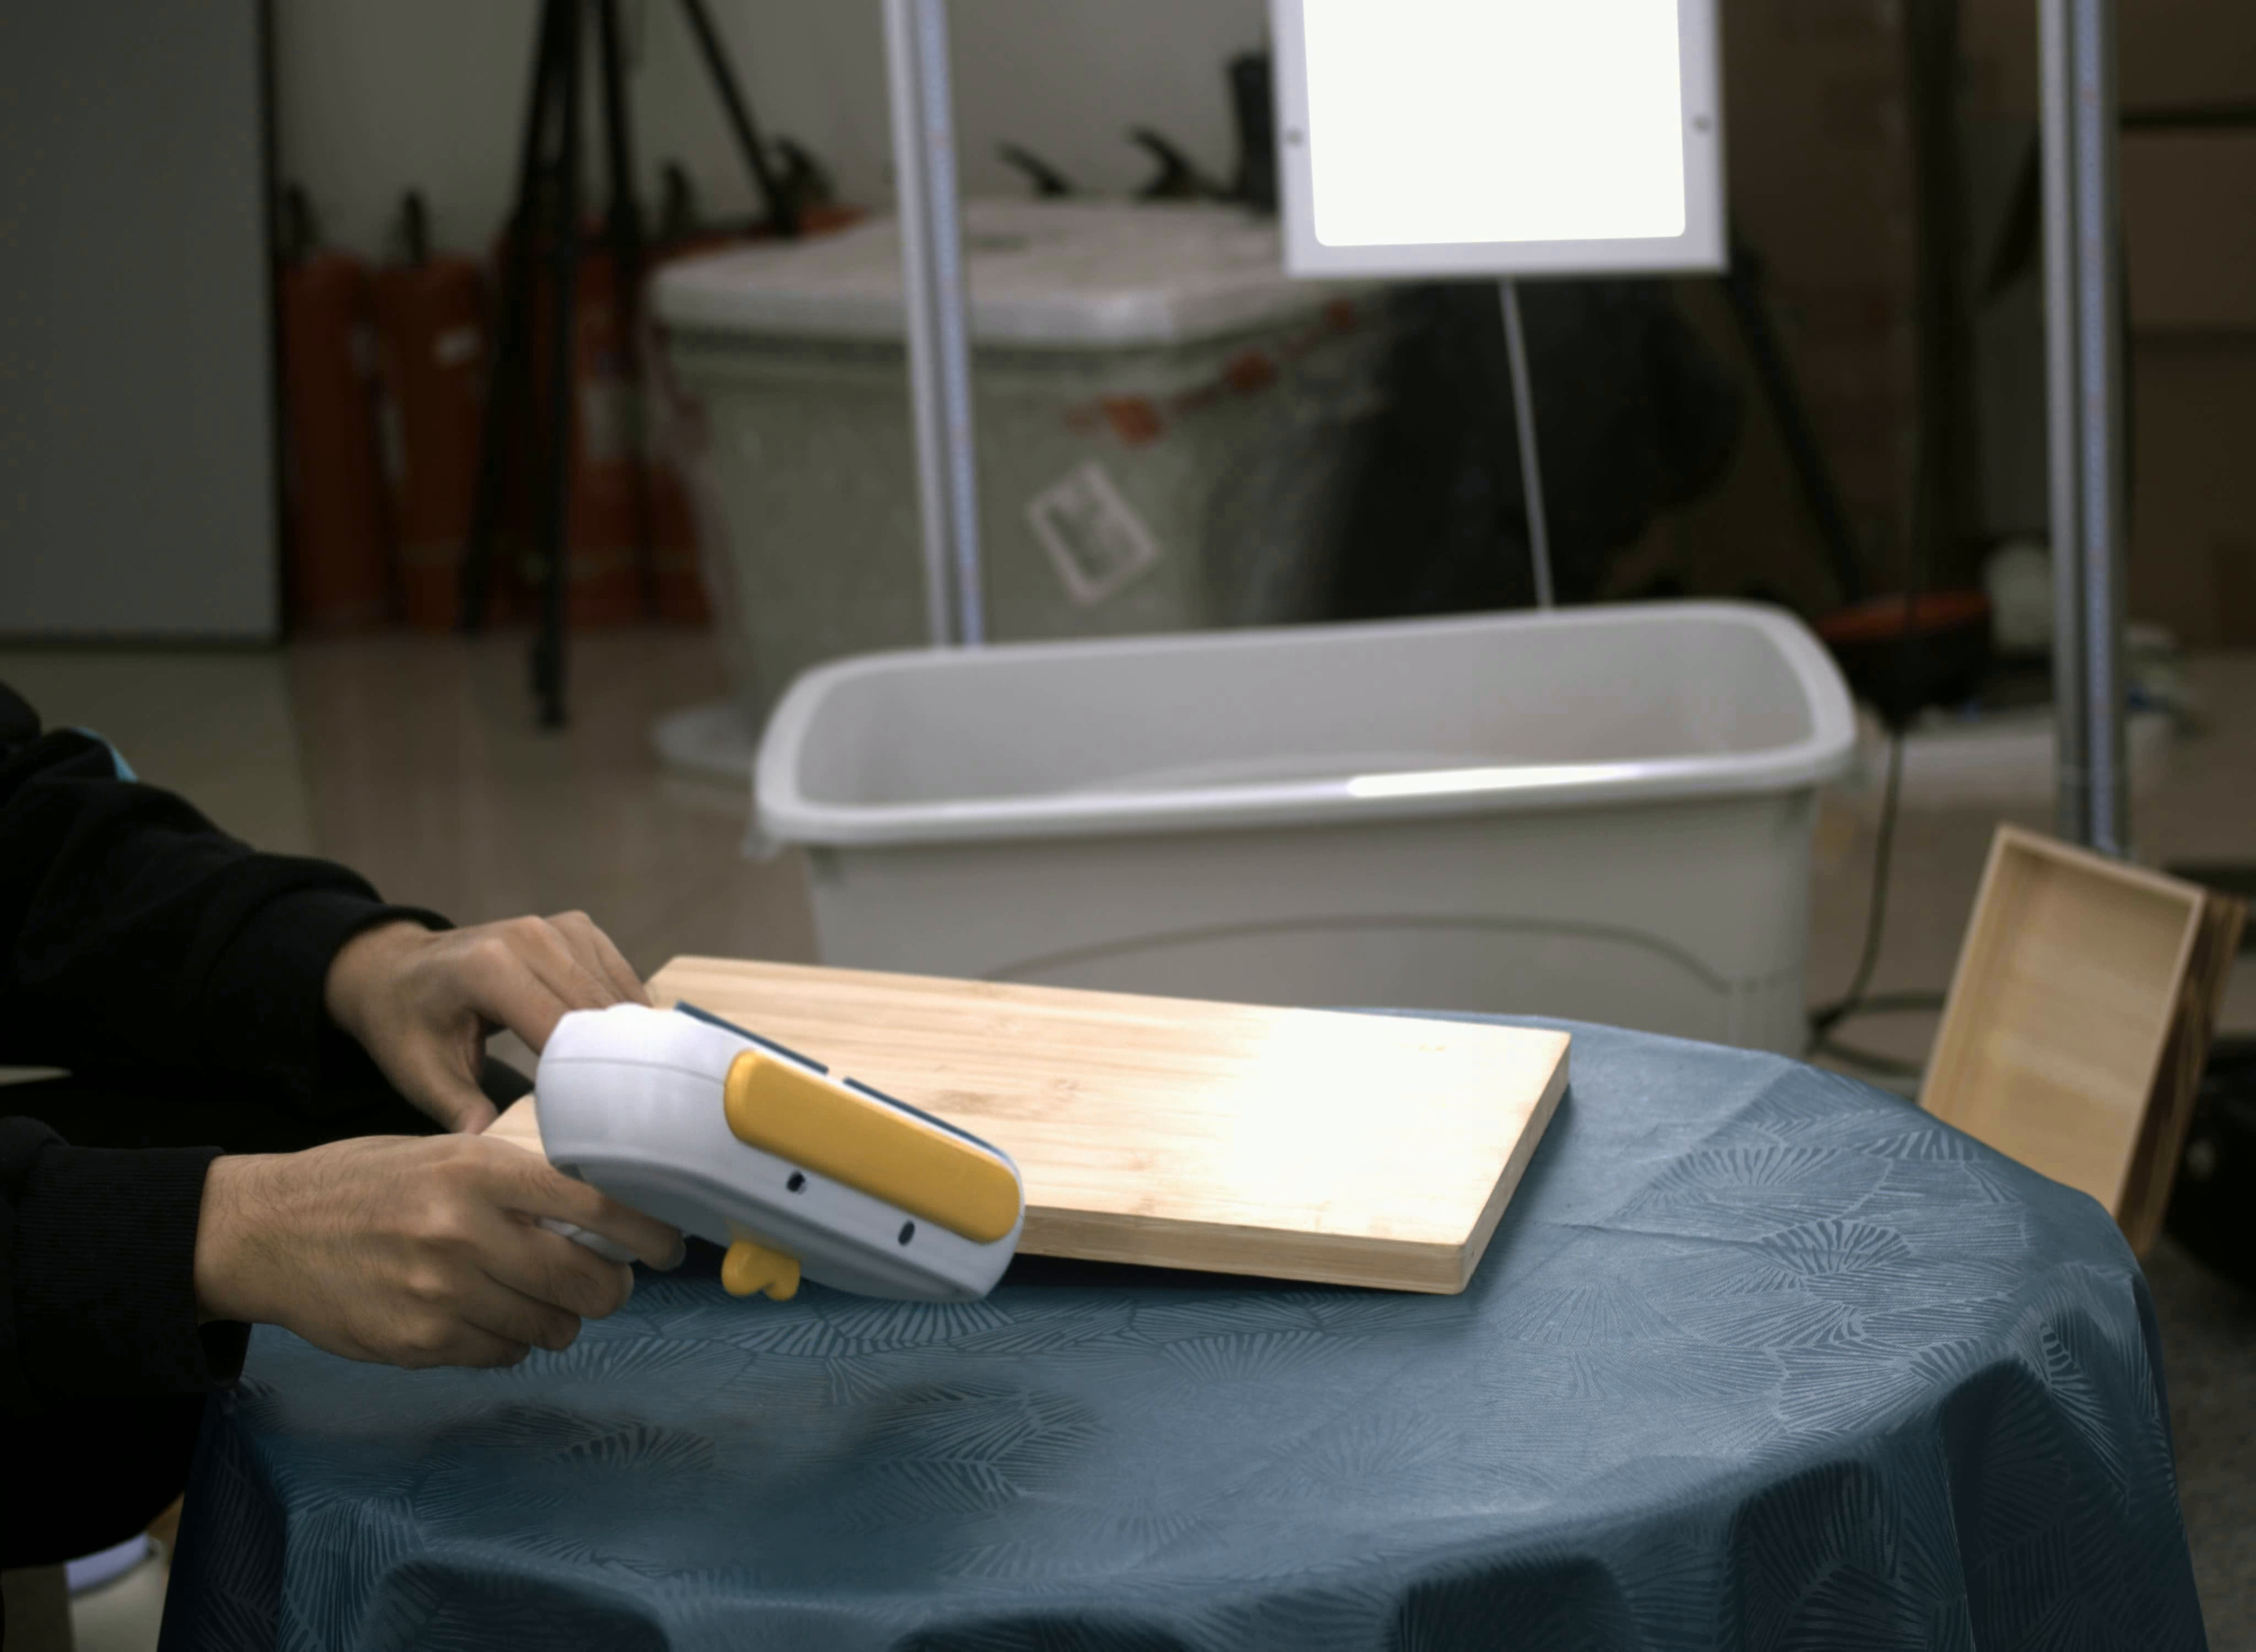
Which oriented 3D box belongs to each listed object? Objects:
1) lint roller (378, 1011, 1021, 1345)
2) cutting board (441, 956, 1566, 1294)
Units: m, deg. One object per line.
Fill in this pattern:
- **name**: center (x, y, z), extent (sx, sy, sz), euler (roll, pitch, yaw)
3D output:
- **lint roller**: center (-0.153, 0.117, 1.685), extent (0.196, 0.074, 0.188), euler (-13, -21, 37)
- **cutting board**: center (-0.036, 0.100, 1.913), extent (0.351, 0.024, 0.247), euler (4, 15, 13)
